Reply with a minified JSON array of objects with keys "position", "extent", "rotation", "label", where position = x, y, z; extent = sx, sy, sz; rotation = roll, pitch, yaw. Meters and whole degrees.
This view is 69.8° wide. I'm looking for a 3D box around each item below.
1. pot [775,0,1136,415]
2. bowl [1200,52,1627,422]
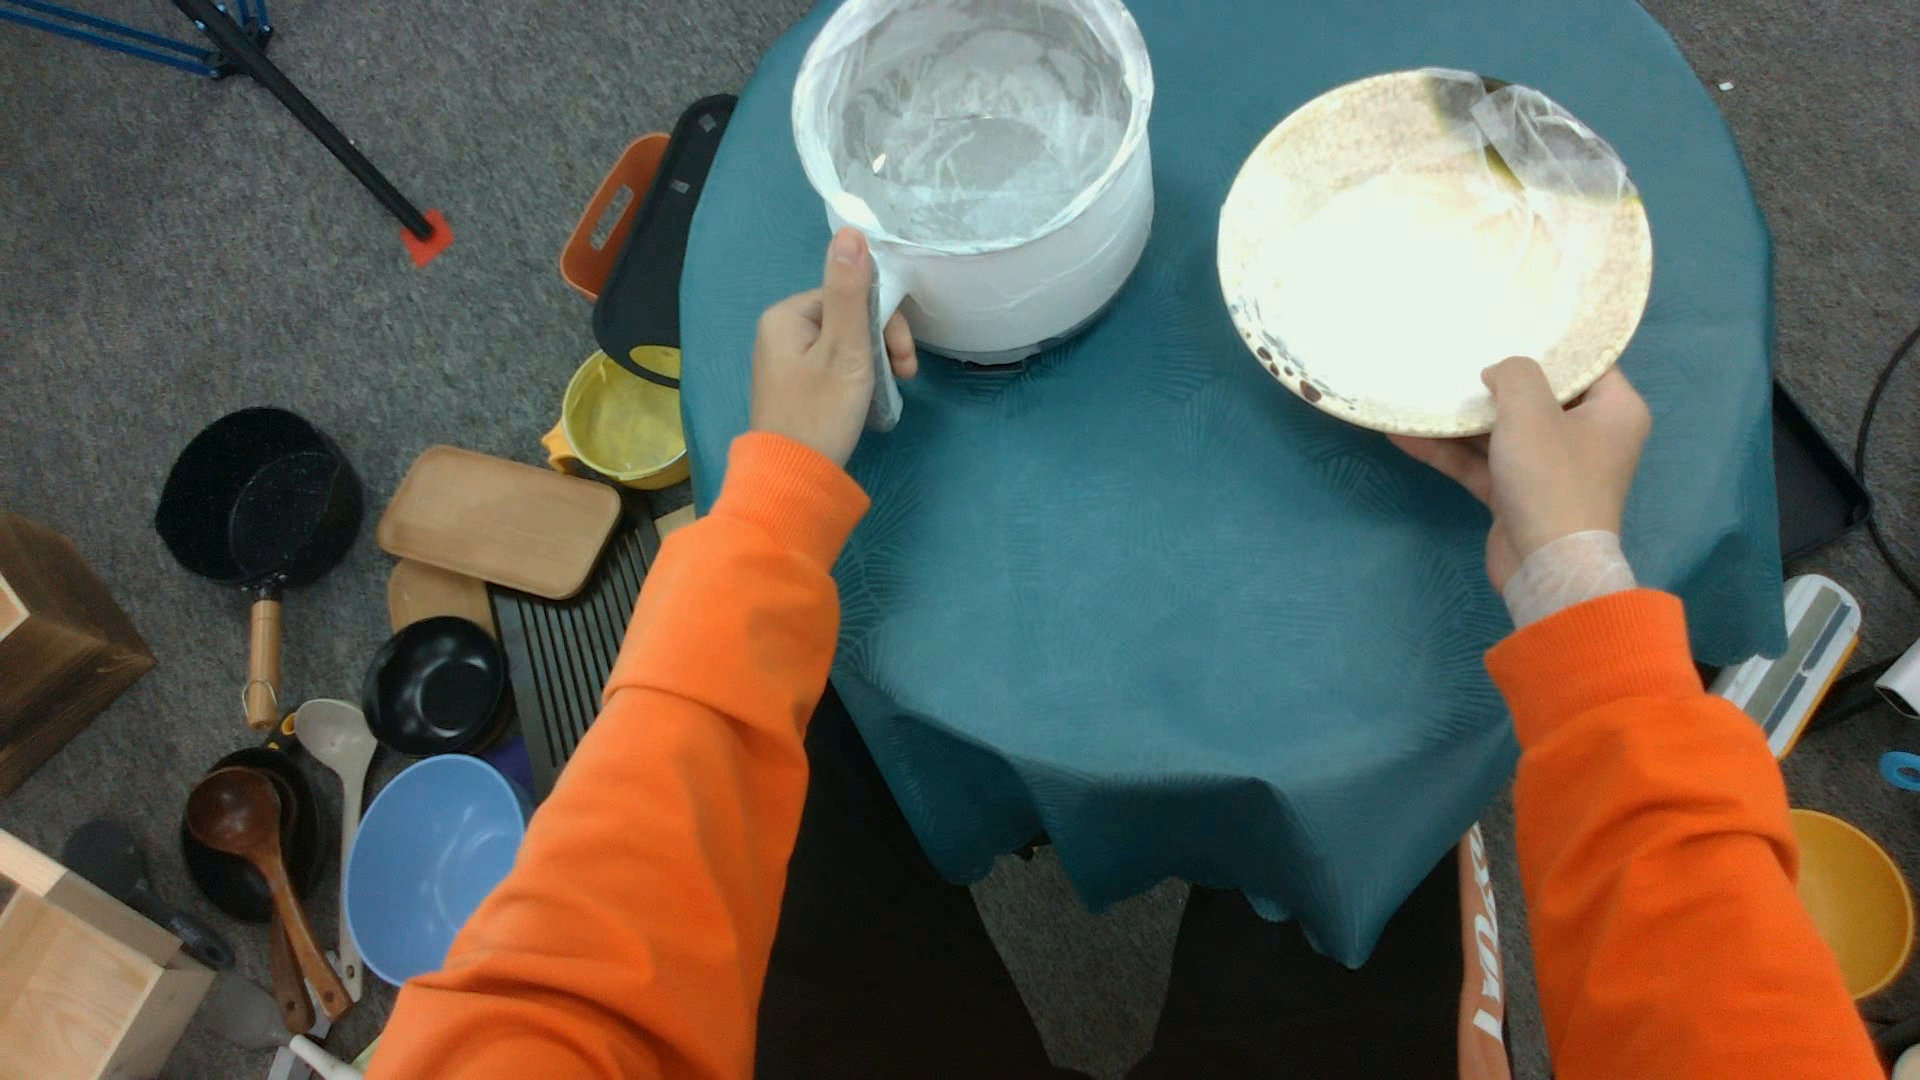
[{"position":[-0.009,-0.181,0.724],"extent":[0.178,0.136,0.234],"rotation":[25,76,16],"label":"pot"},{"position":[0.226,-0.144,0.713],"extent":[0.204,0.078,0.204],"rotation":[-2,73,7],"label":"bowl"}]
